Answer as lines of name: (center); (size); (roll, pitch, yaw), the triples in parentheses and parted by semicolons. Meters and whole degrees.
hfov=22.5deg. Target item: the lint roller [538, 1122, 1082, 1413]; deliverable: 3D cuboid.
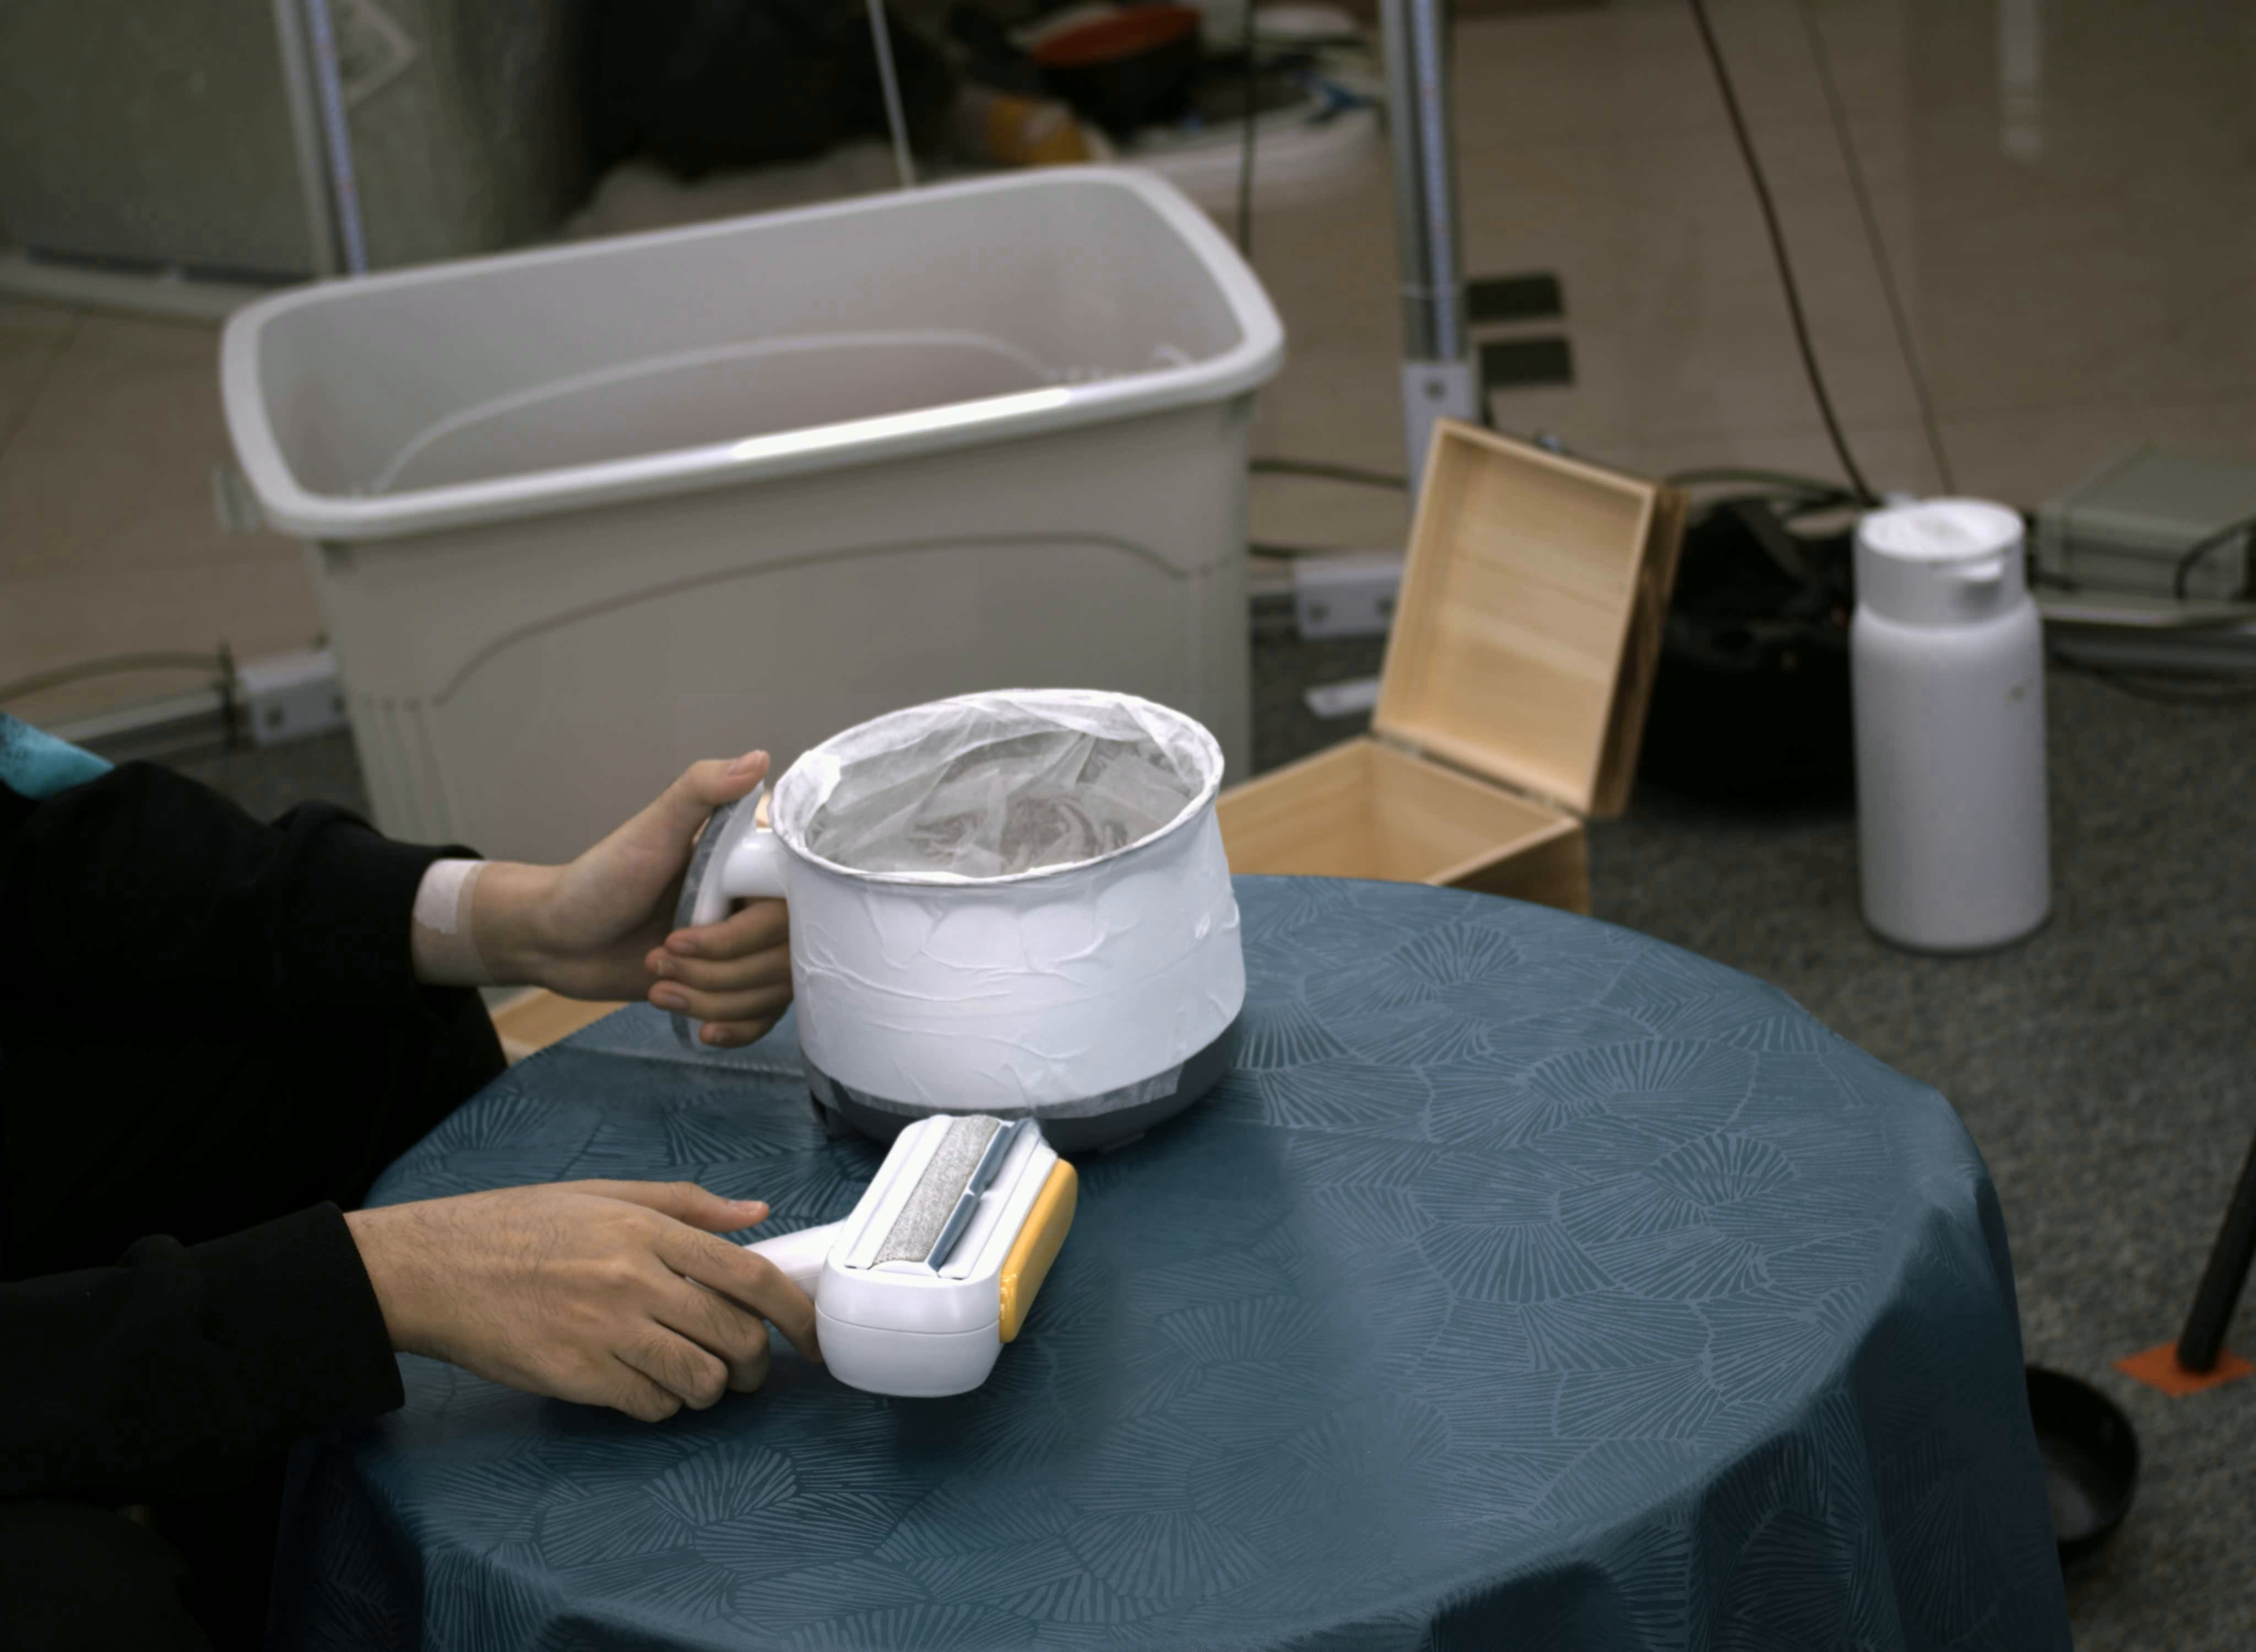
lint roller: (-0.123, 0.163, 2.041); (0.192, 0.075, 0.190); (-2, 19, 13)

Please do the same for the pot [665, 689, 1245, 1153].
pot: (-0.071, 0.039, 2.208); (0.233, 0.139, 0.176); (1, 25, 13)
